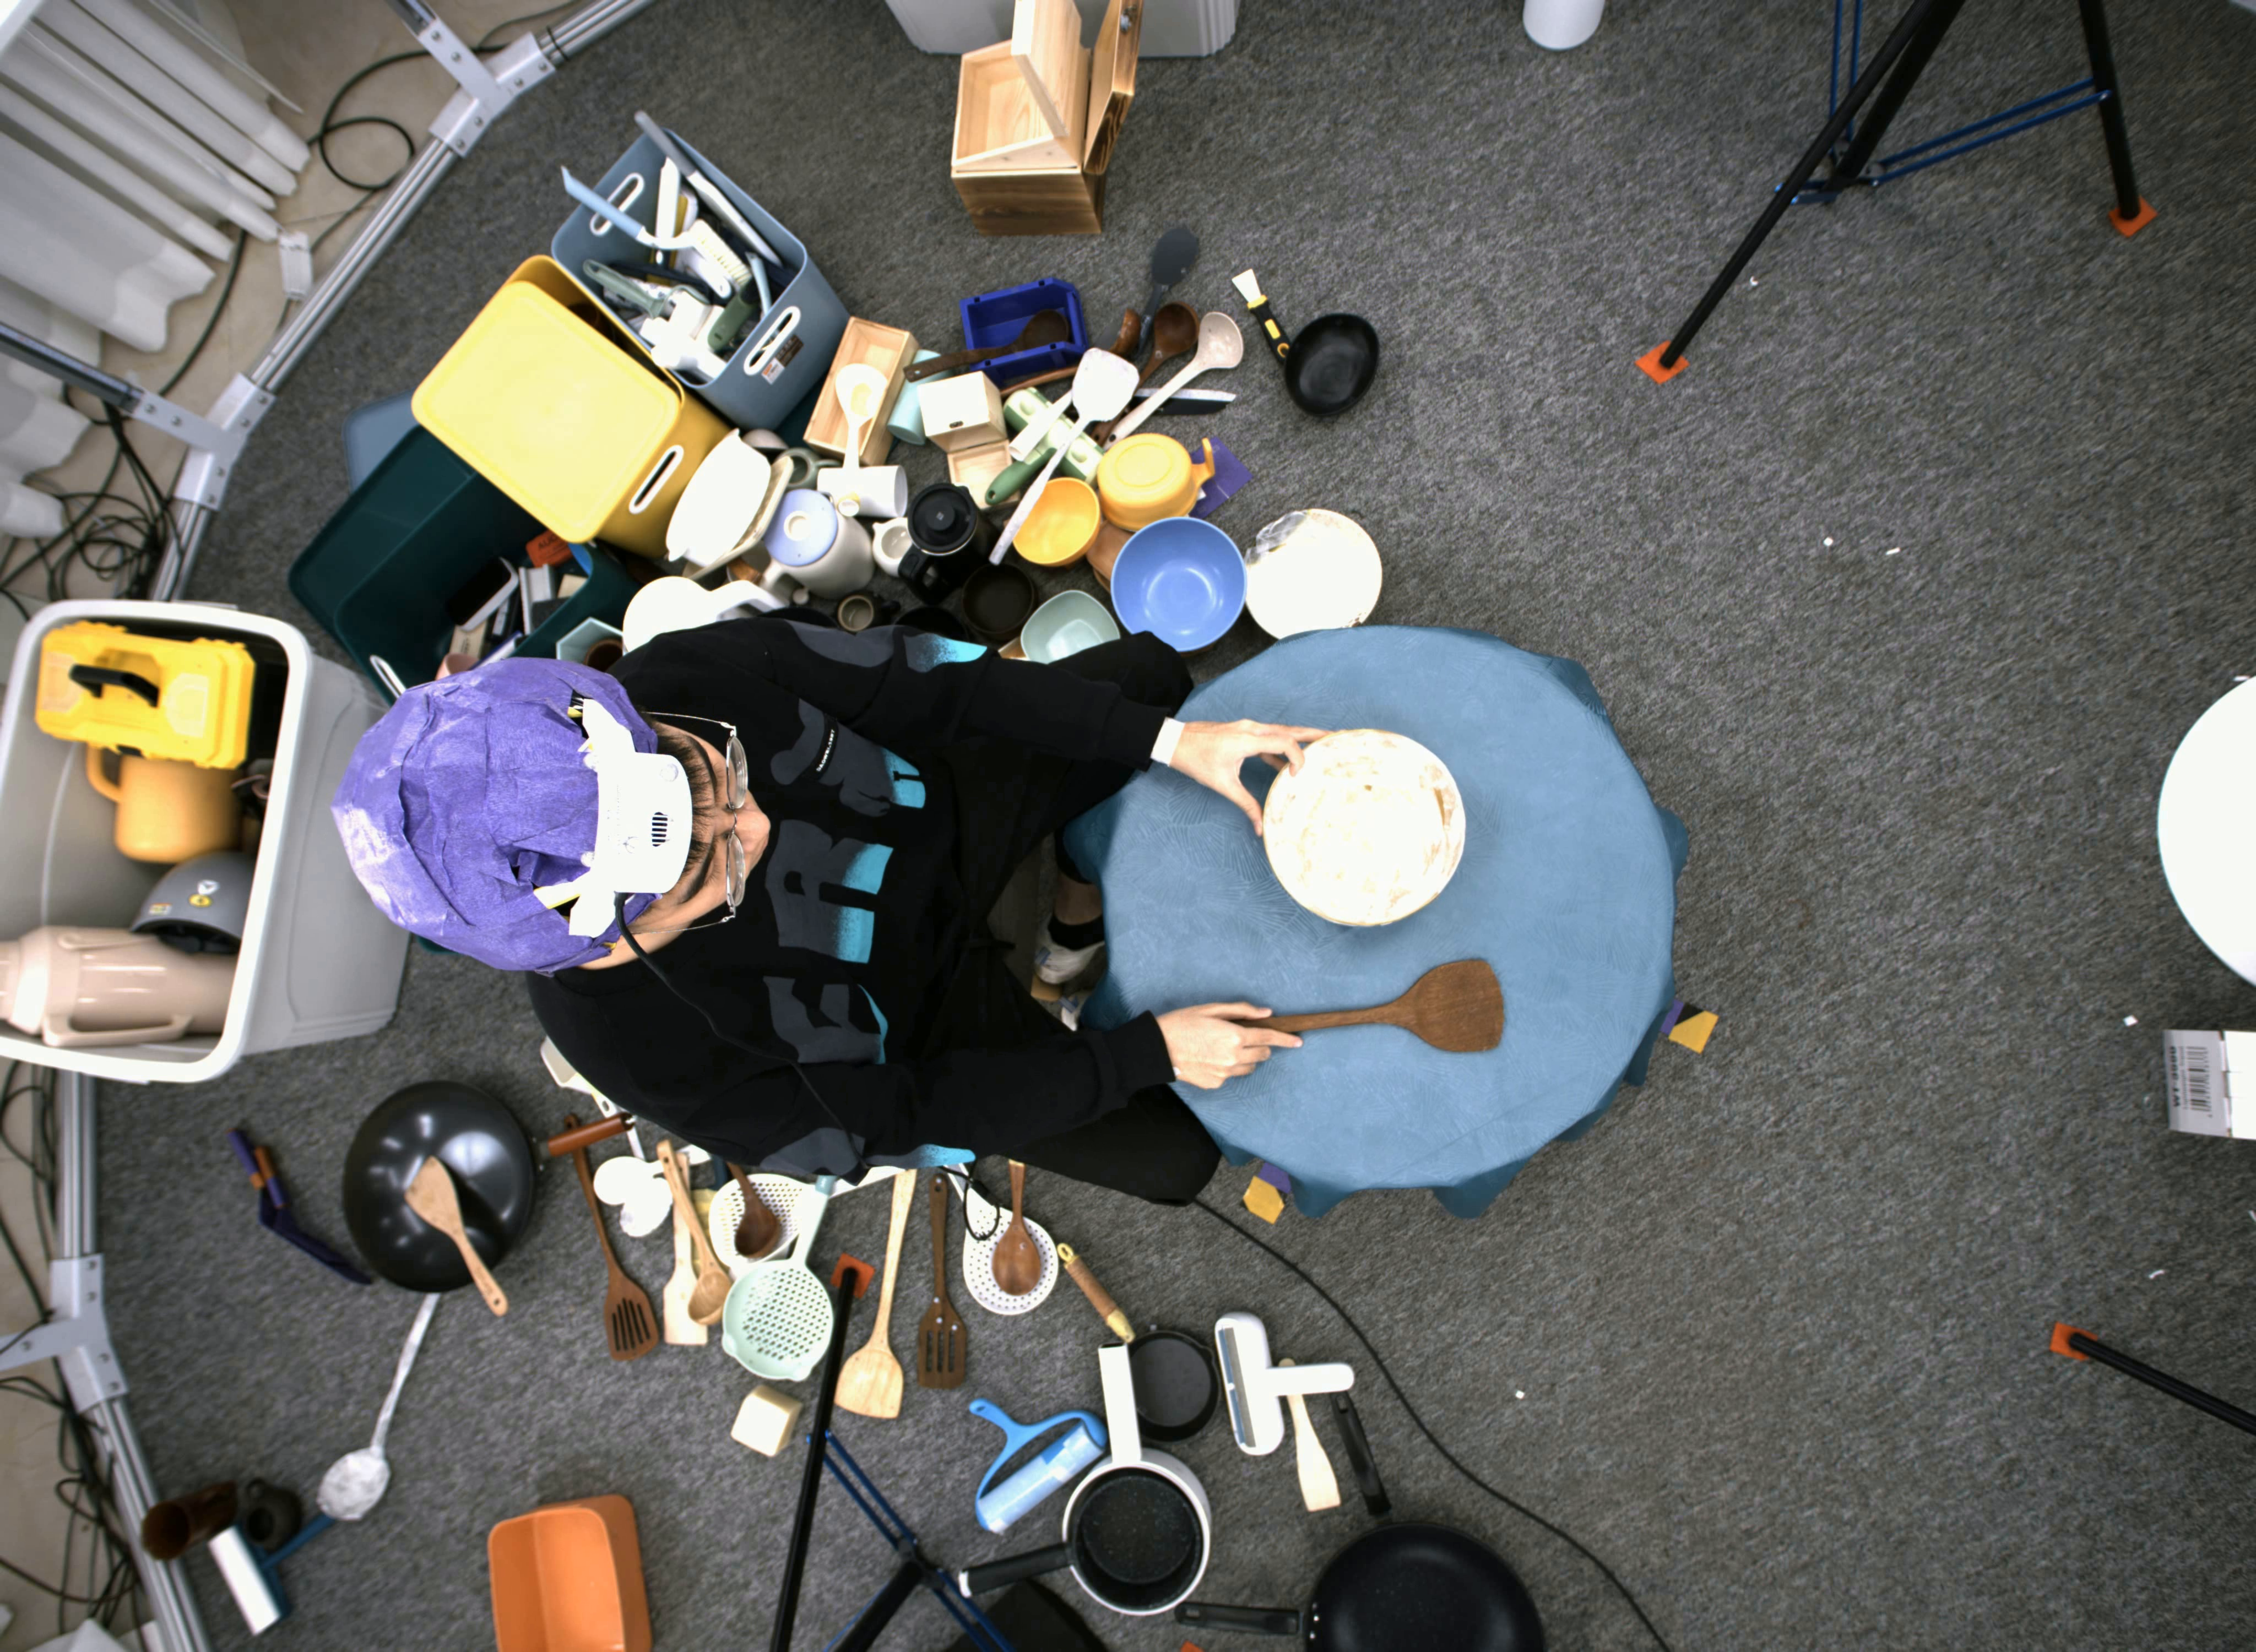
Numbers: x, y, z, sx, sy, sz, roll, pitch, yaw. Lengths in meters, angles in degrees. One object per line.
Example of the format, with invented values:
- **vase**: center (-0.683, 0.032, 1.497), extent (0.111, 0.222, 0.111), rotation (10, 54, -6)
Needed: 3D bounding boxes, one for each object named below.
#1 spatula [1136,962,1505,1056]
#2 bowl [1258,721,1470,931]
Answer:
- **spatula**: center (0.200, 0.207, 1.453), extent (0.387, 0.016, 0.095), rotation (-7, 84, 6)
- **bowl**: center (0.242, 0.004, 1.427), extent (0.215, 0.094, 0.214), rotation (-1, 87, 10)
